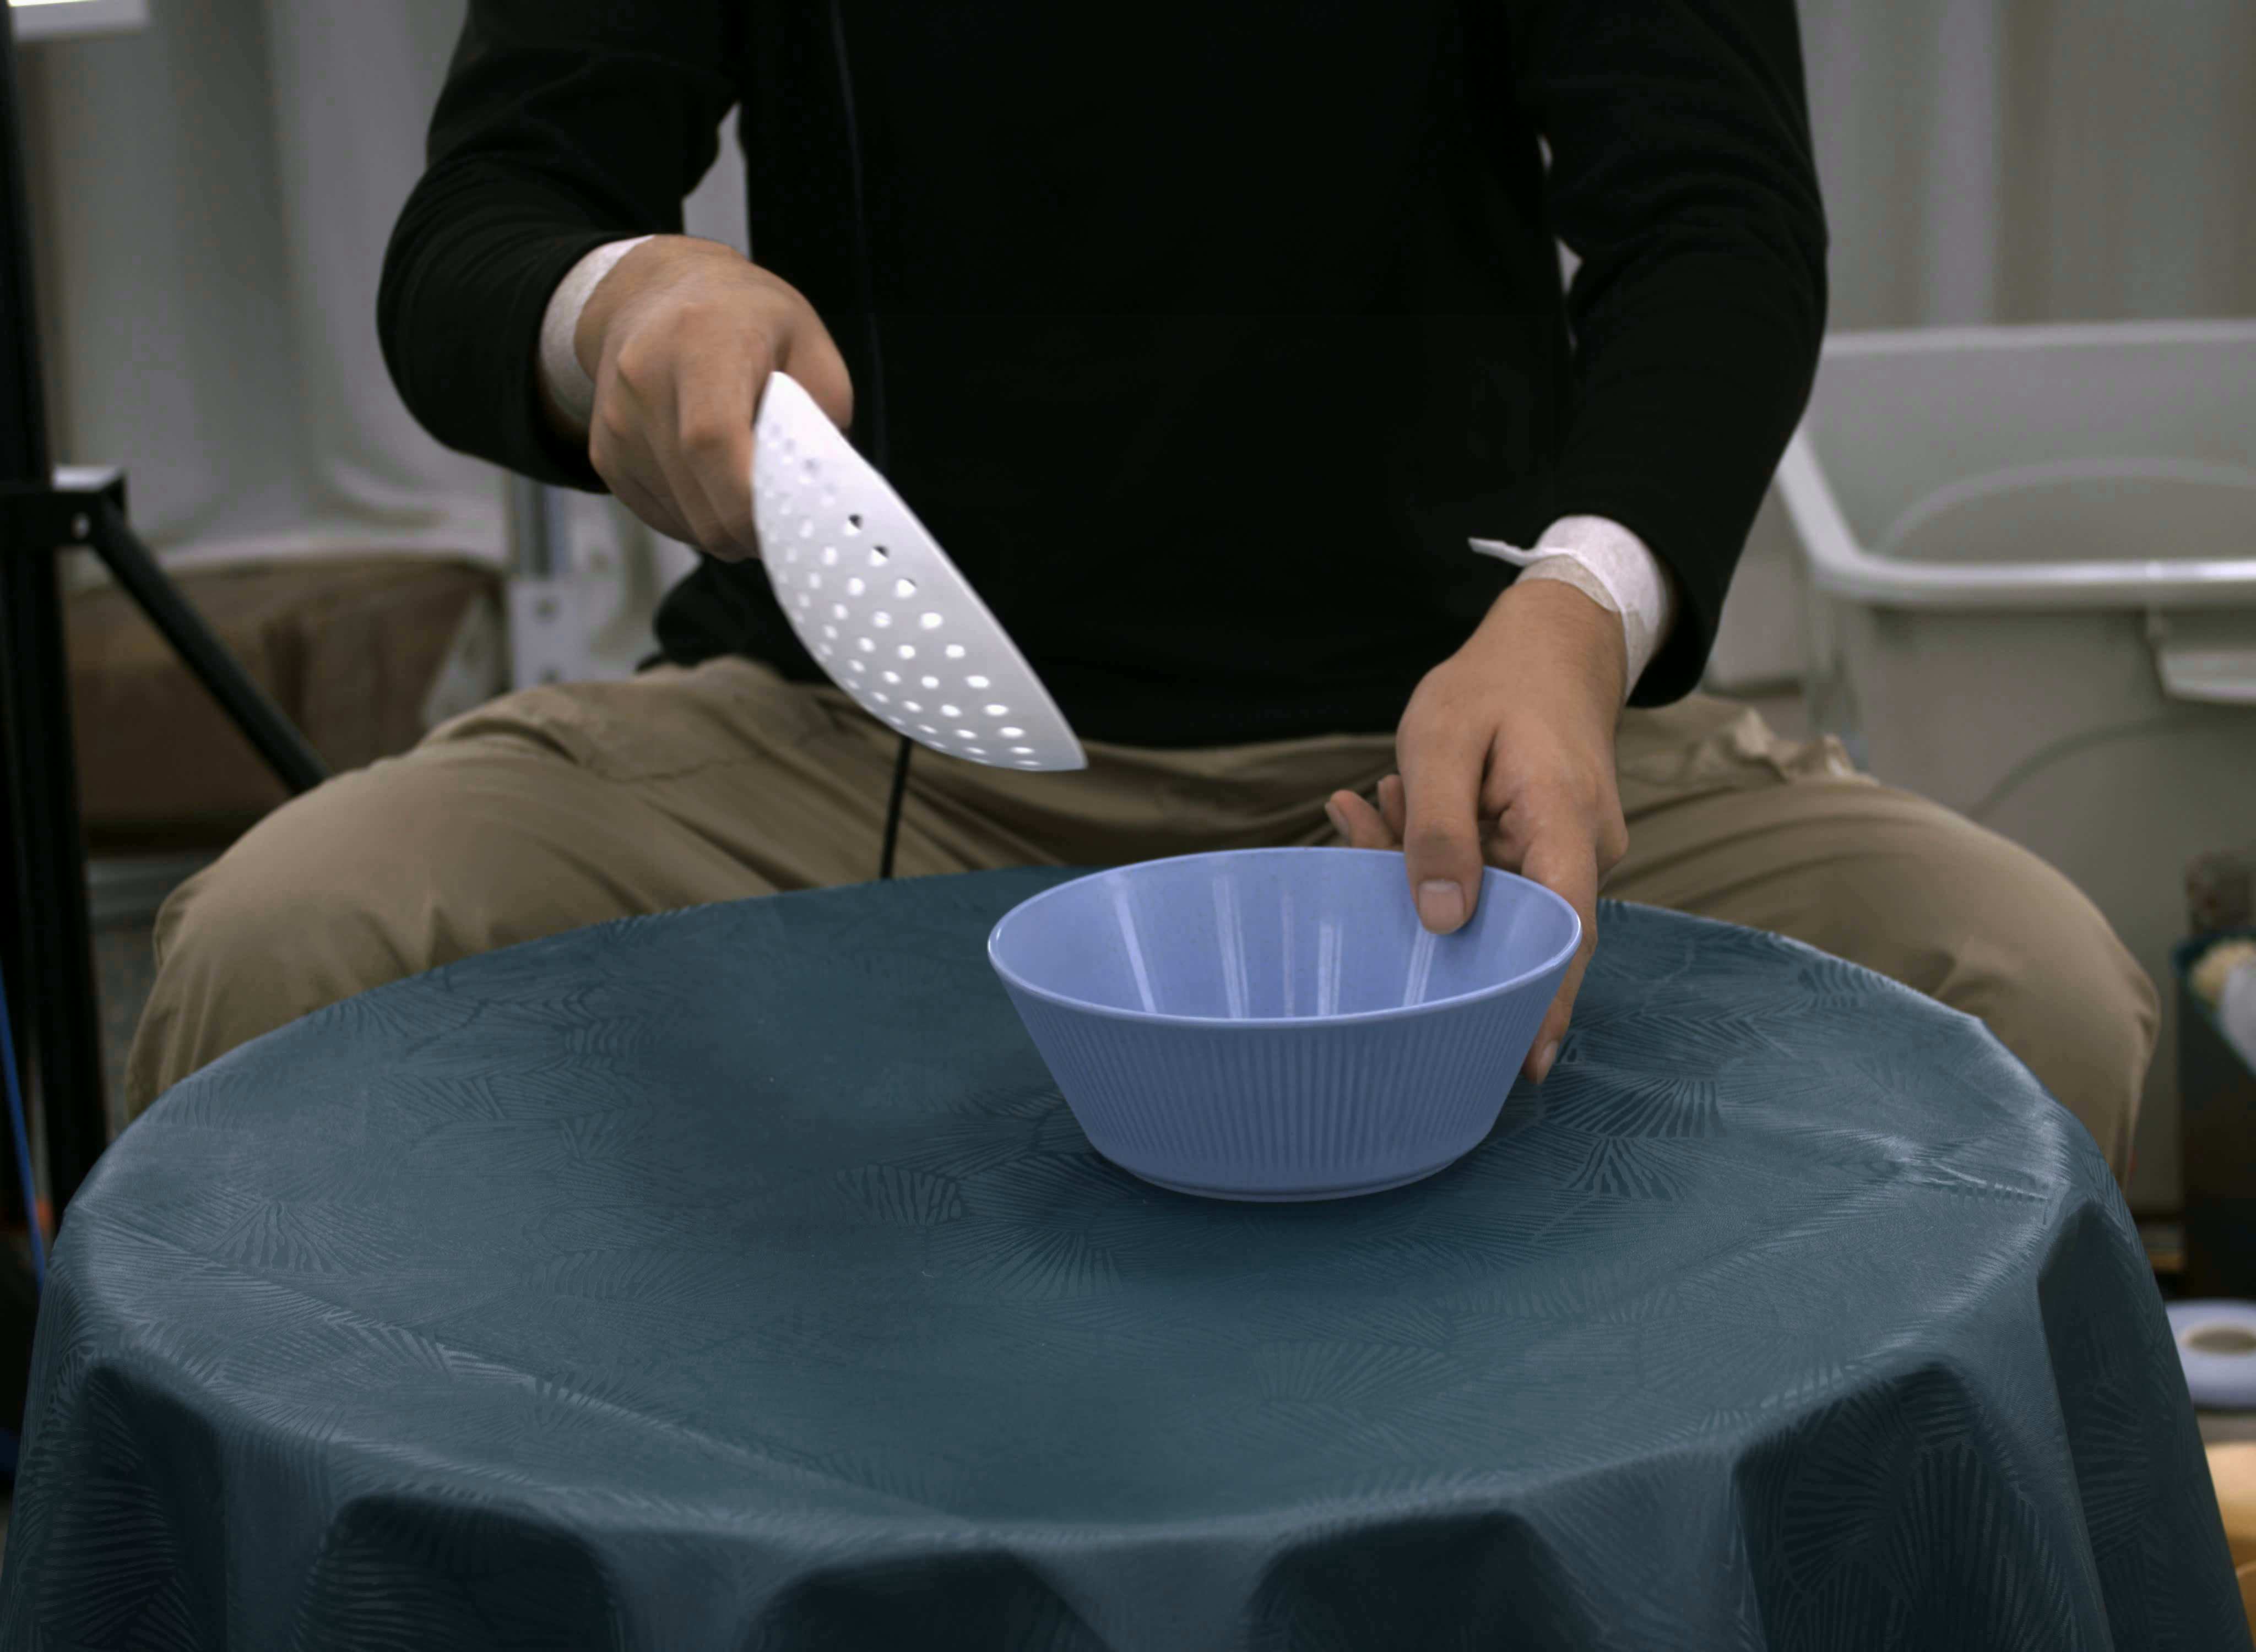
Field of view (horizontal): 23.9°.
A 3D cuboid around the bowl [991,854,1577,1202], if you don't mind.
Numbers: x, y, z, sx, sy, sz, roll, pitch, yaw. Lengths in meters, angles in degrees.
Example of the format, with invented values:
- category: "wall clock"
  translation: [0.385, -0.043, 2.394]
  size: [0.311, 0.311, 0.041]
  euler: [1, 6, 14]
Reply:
- category: "bowl"
  translation: [0.047, 0.062, 1.583]
  size: [0.175, 0.070, 0.177]
  euler: [-3, 14, -1]

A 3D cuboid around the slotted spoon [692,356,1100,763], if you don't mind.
- category: "slotted spoon"
  translation: [-0.084, -0.091, 1.546]
  size: [0.045, 0.134, 0.354]
  euler: [-36, 19, 0]
